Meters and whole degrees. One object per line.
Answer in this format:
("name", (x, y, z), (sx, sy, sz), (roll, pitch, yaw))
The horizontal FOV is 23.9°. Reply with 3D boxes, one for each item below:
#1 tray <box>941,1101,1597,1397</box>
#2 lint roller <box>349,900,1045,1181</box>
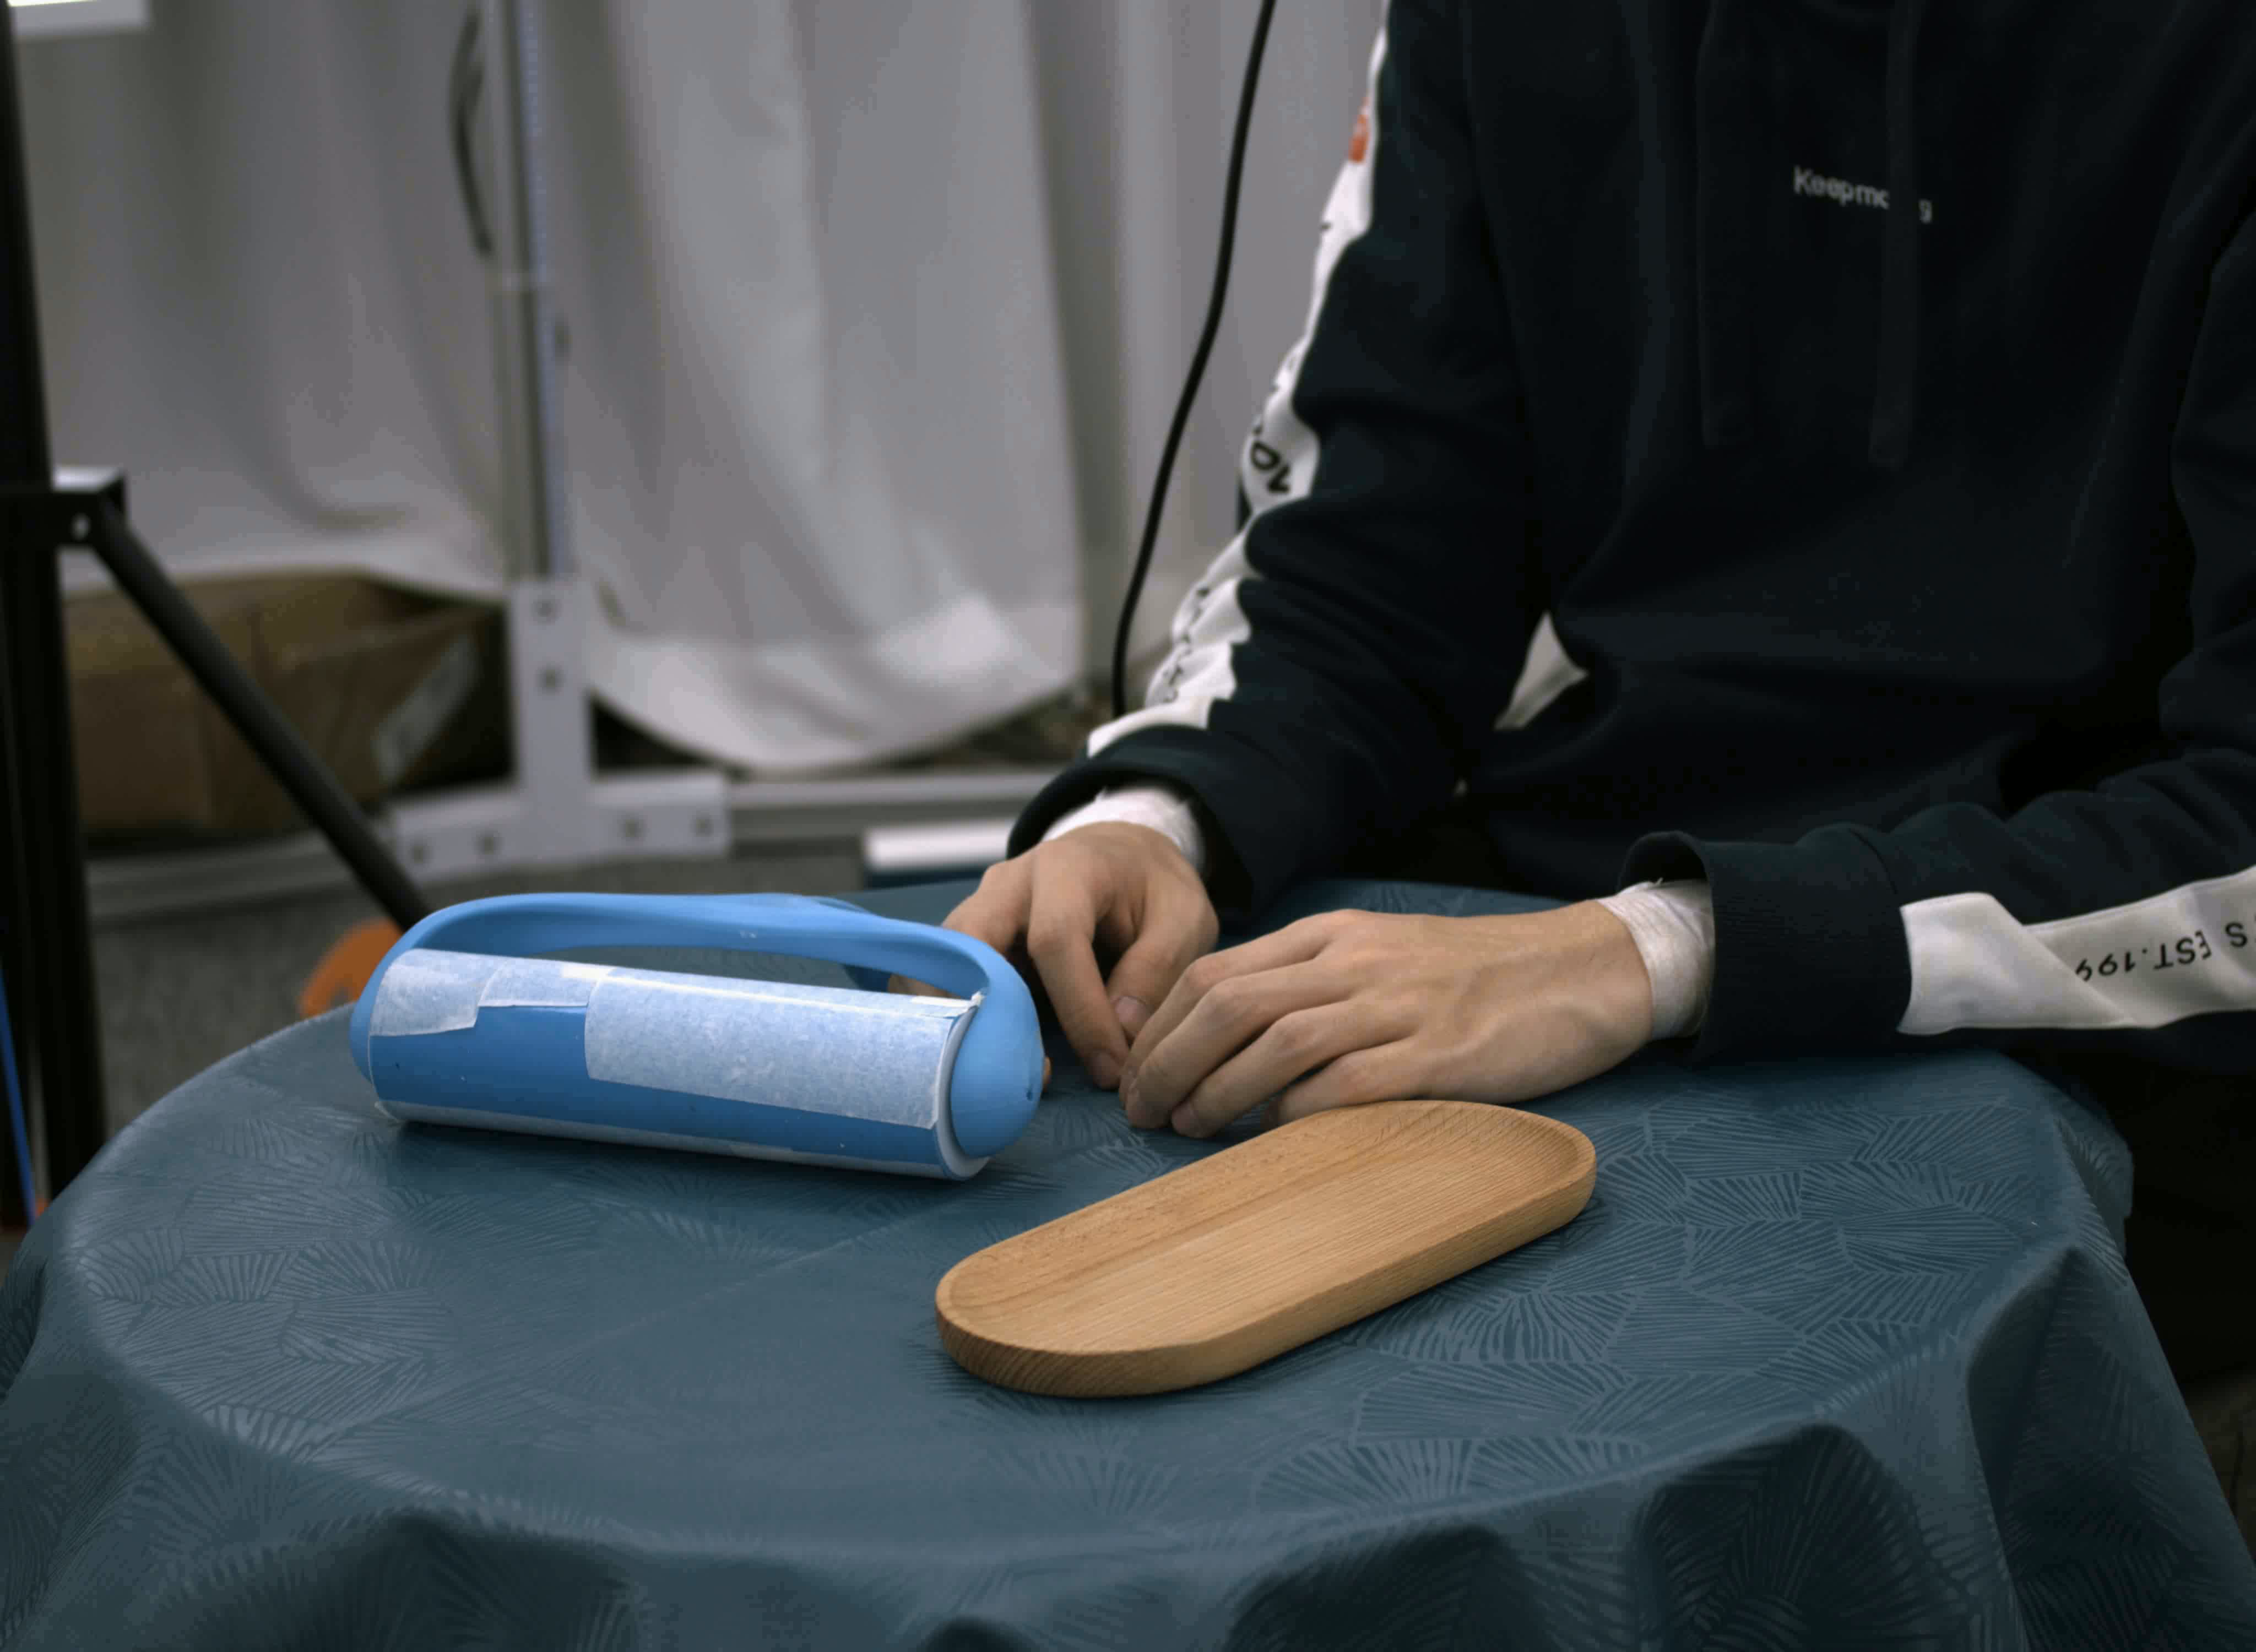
("tray", (0.043, 0.117, 1.490), (0.104, 0.020, 0.226), (13, 21, 41))
("lint roller", (-0.113, 0.054, 1.662), (0.232, 0.068, 0.178), (2, 17, 22))
